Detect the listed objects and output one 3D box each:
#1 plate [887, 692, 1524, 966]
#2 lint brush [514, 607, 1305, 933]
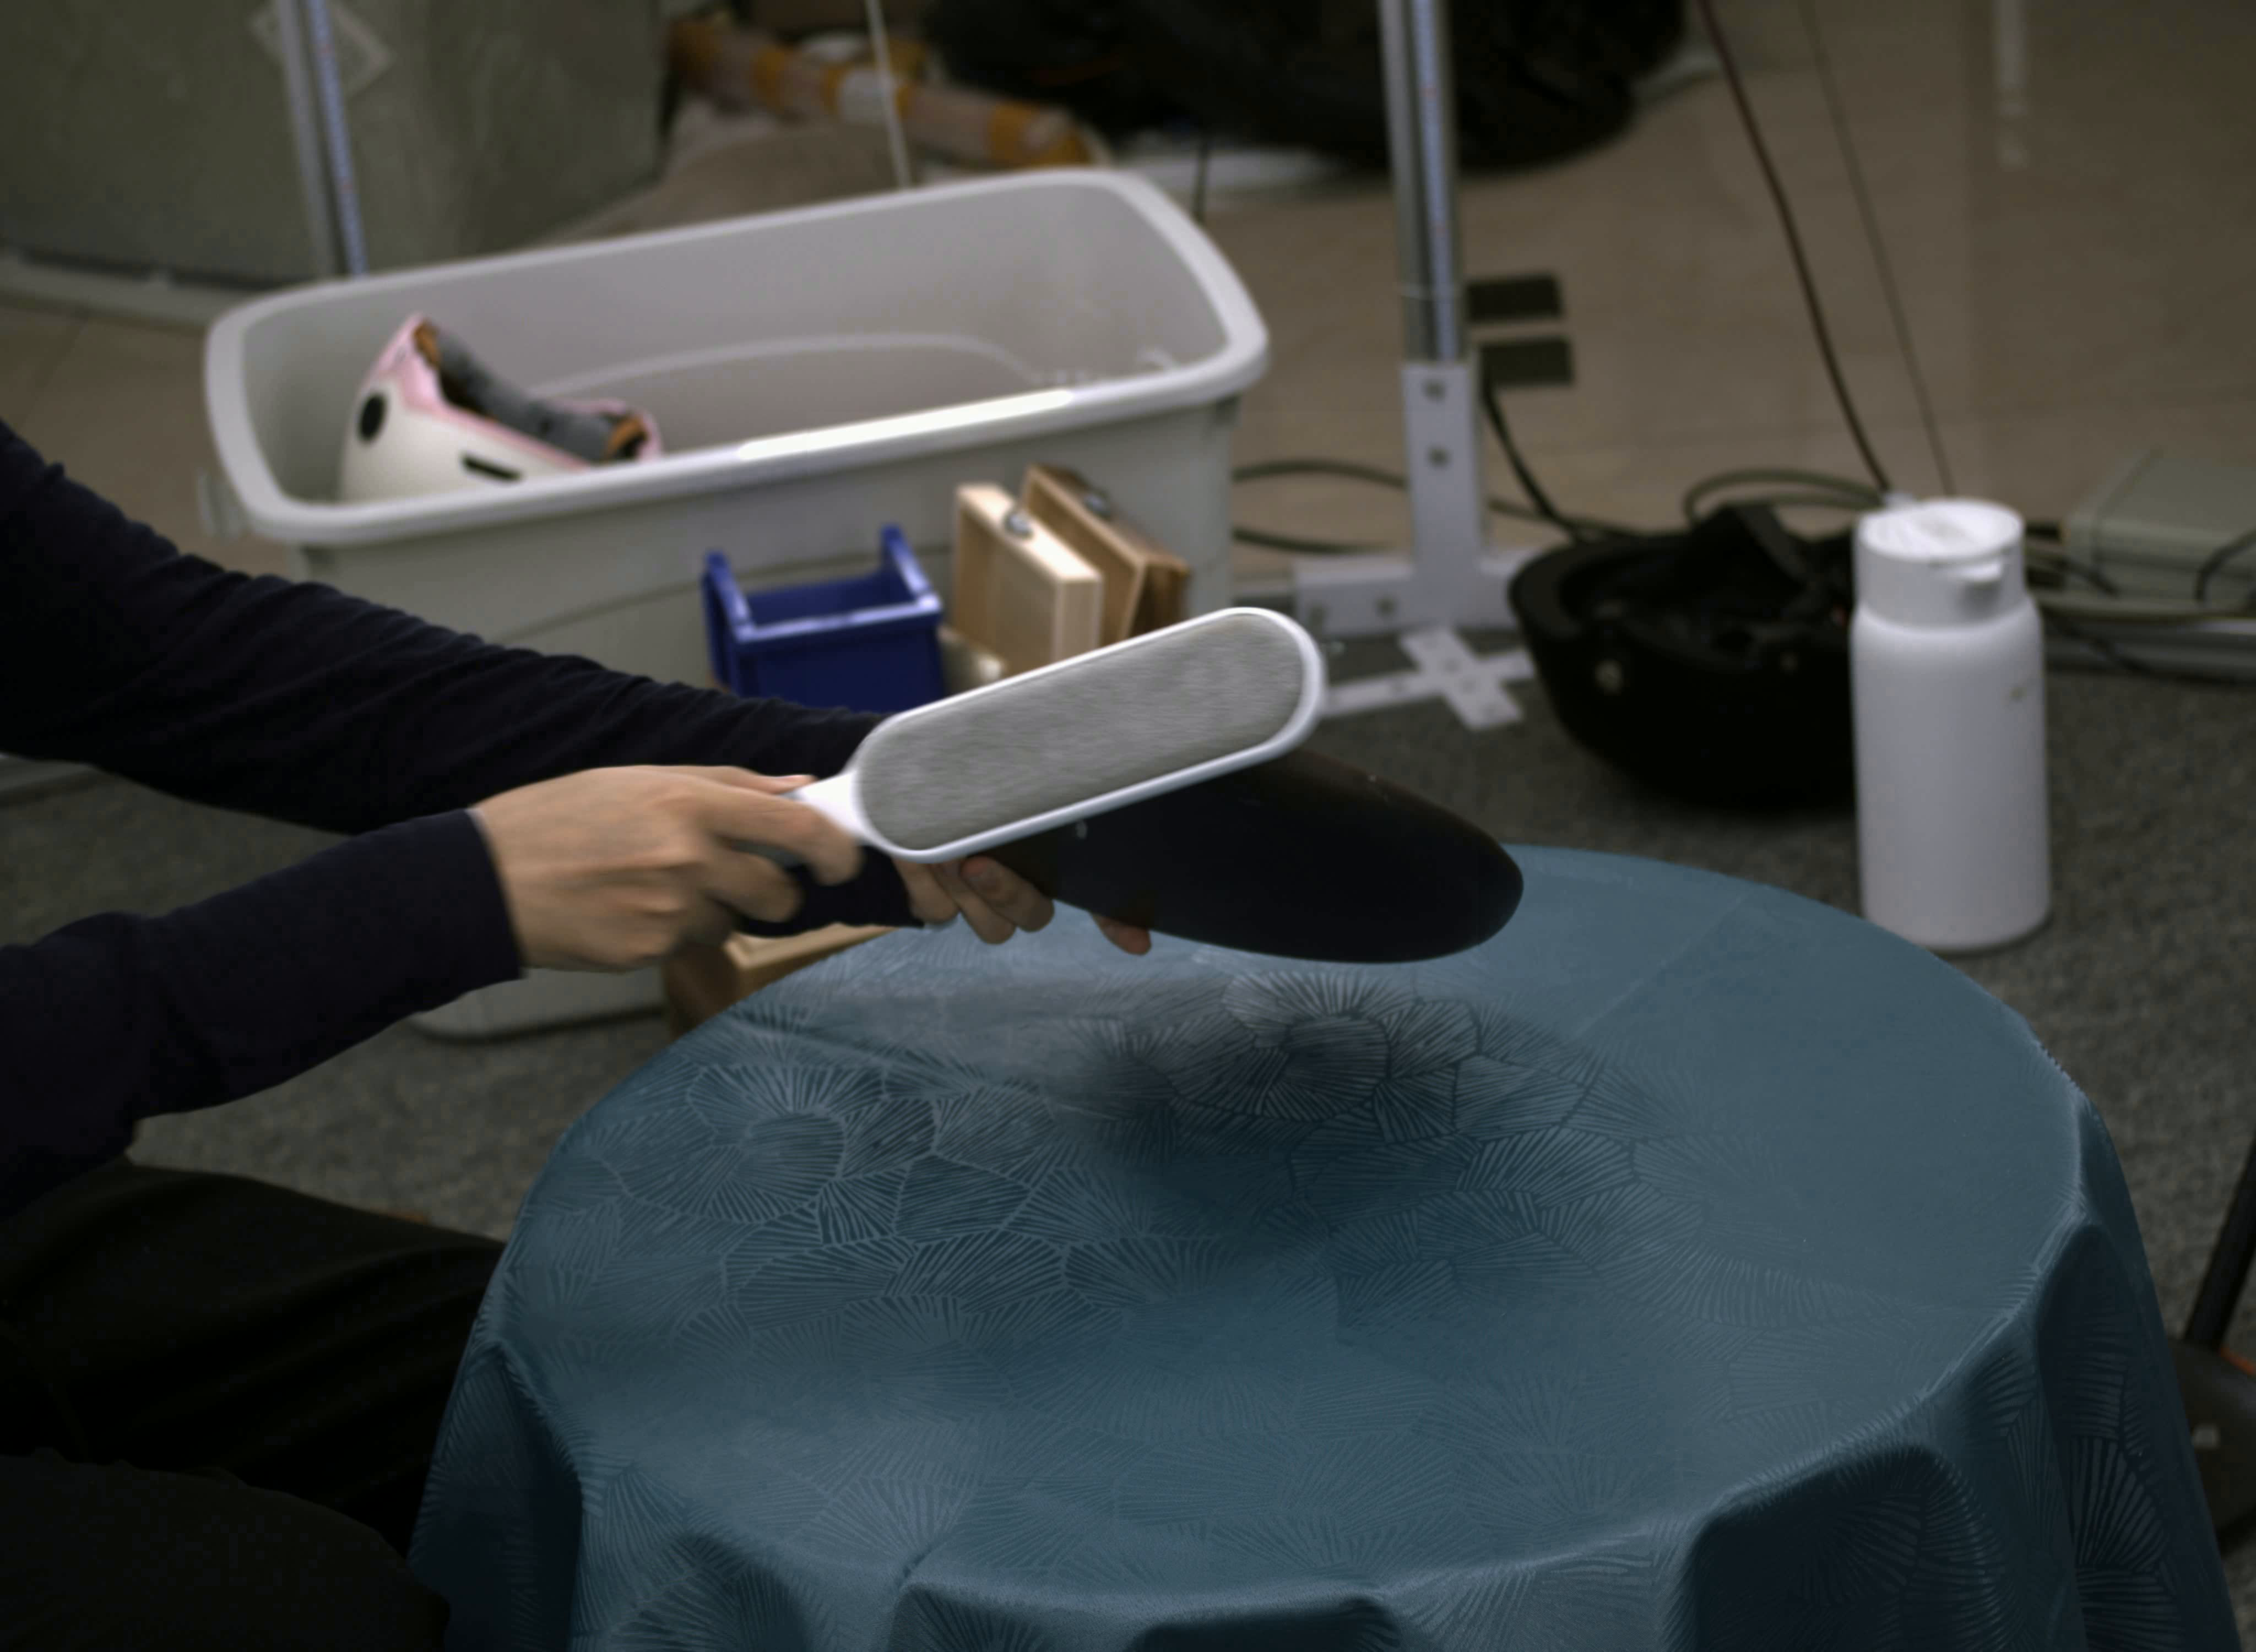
[{"bbox_3d":[0.027,0.003,2.179,0.254,0.258,0.029,6,71,25],"label":"plate"},{"bbox_3d":[-0.082,-0.016,2.066,0.309,0.060,0.021,-17,-7,11],"label":"lint brush"}]
